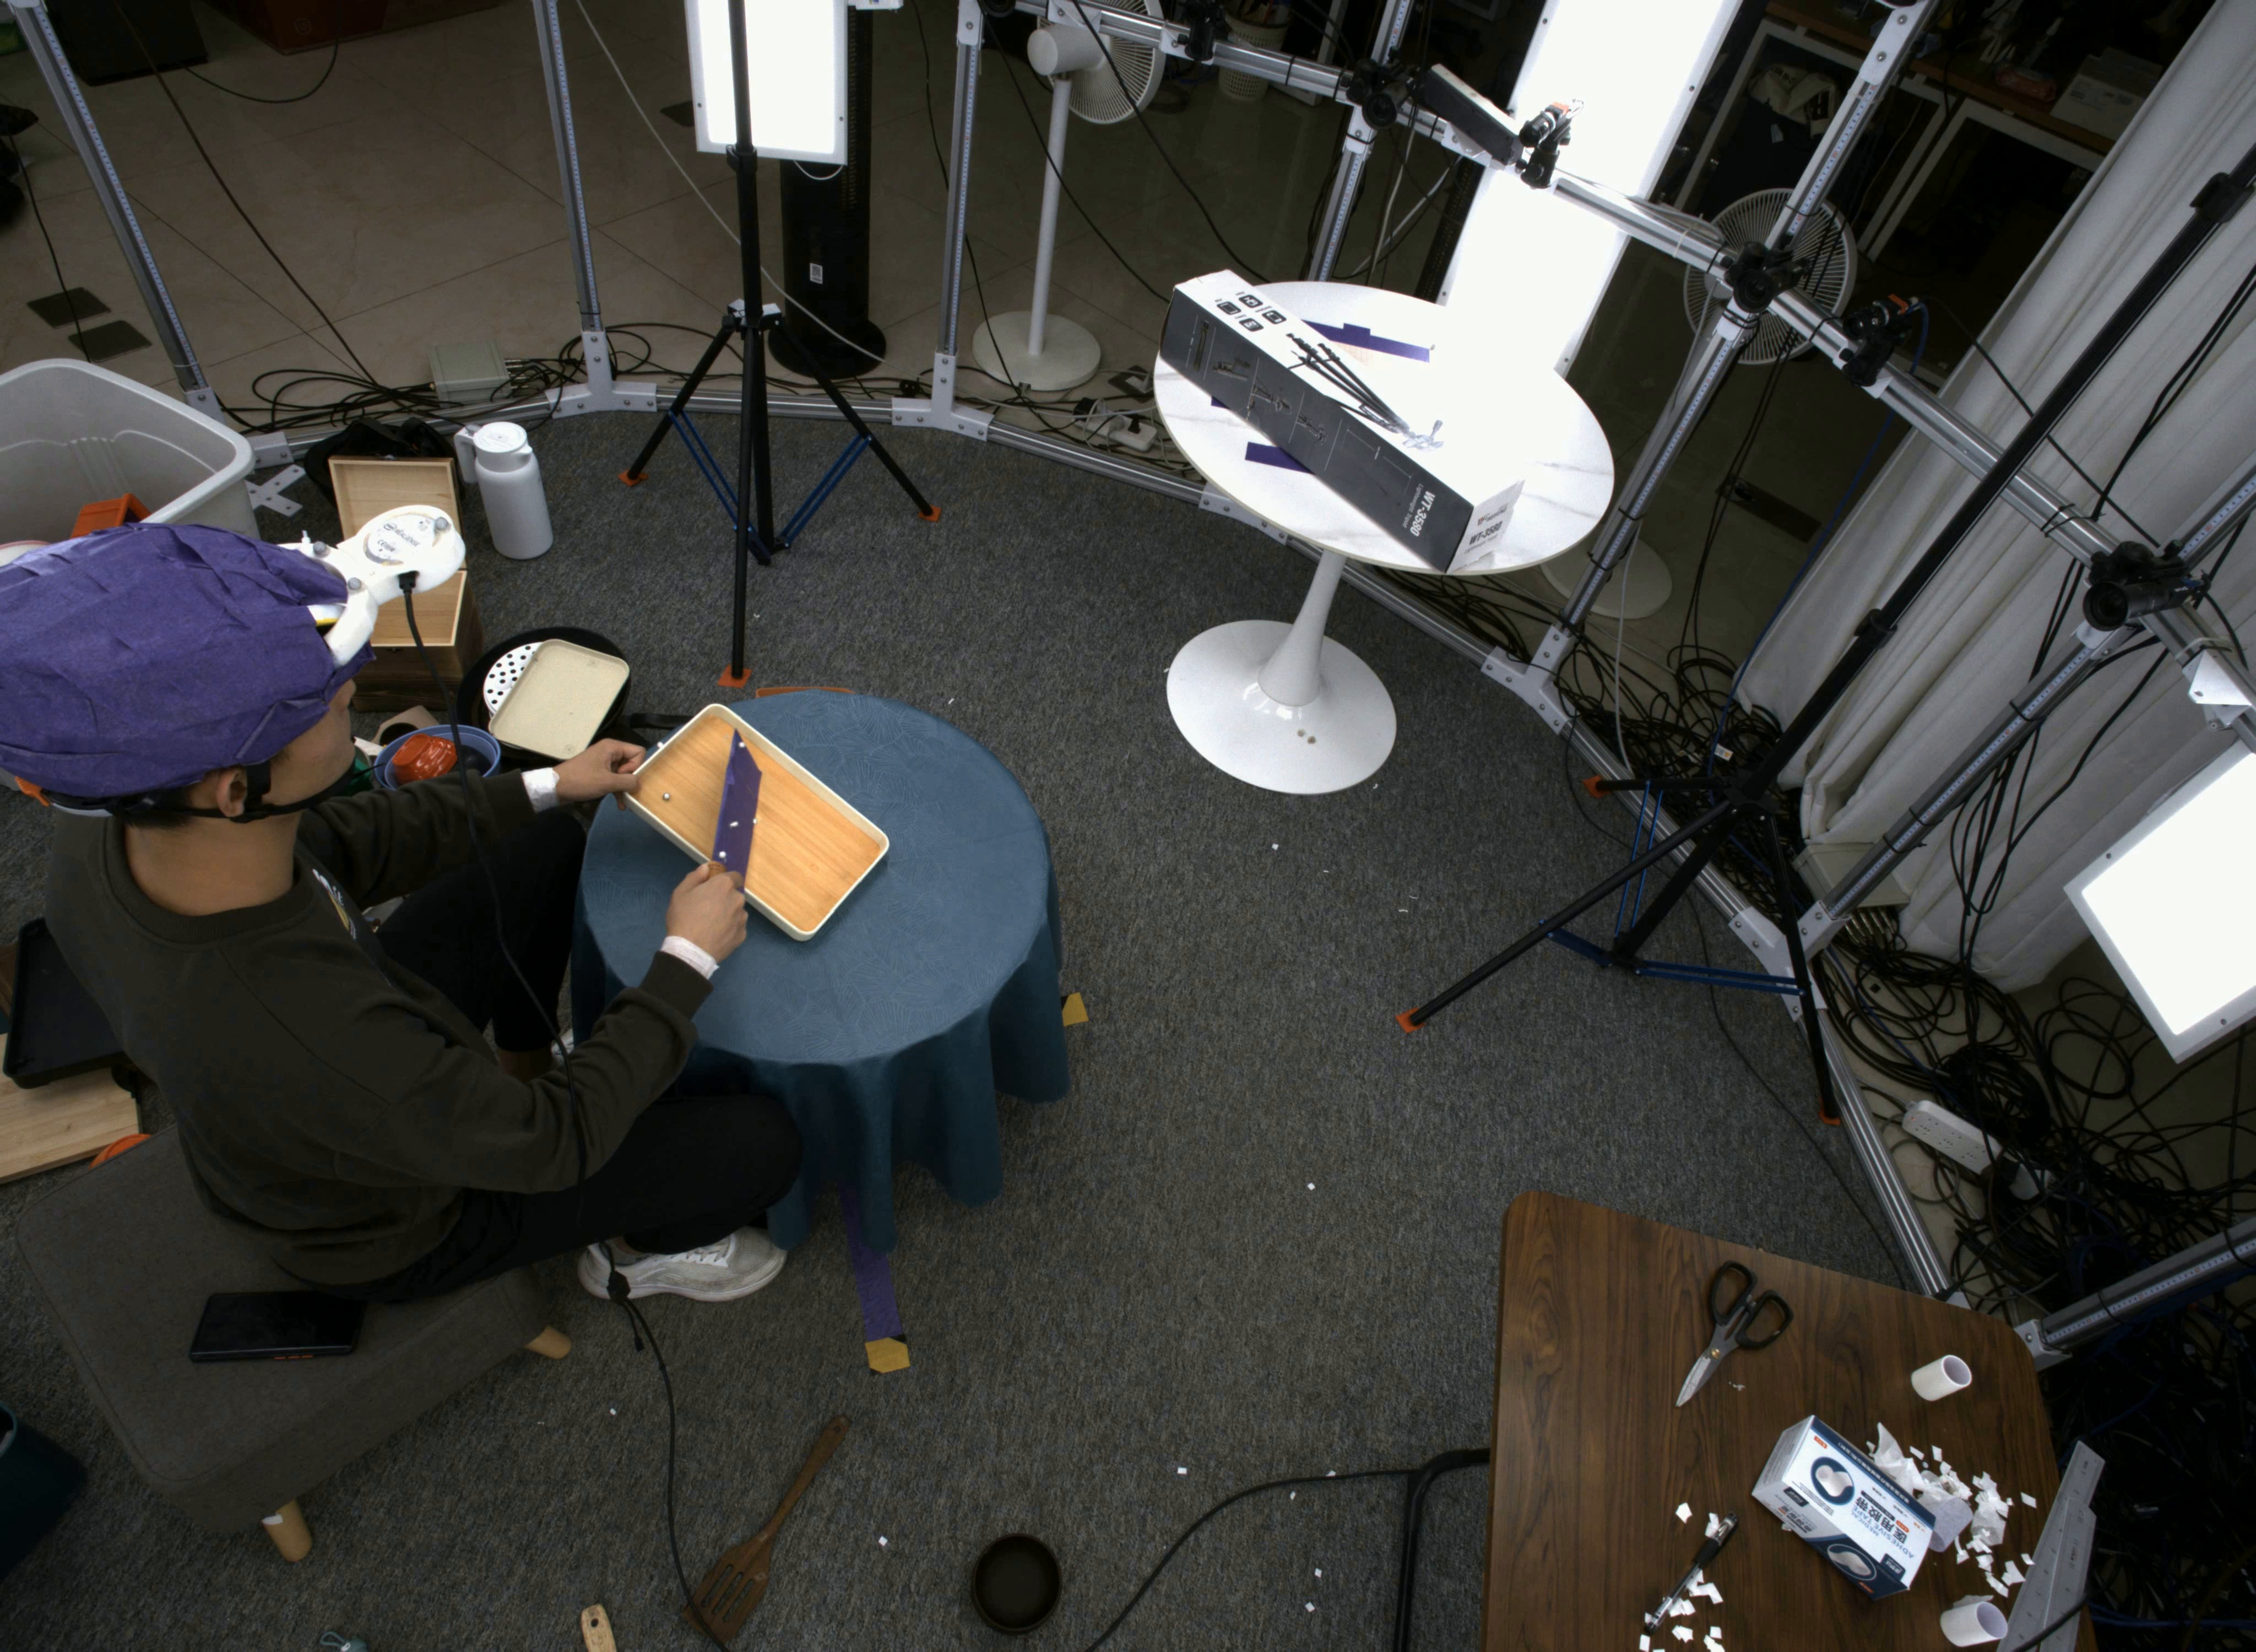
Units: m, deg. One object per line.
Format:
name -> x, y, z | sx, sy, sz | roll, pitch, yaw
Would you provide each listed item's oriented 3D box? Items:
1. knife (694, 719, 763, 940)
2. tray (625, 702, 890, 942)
knife -> -0.473, 0.016, 1.560 | 0.031, 0.107, 0.309 | -9, 52, 8
tray -> -0.472, -0.008, 1.654 | 0.302, 0.027, 0.191 | 40, 53, -7
